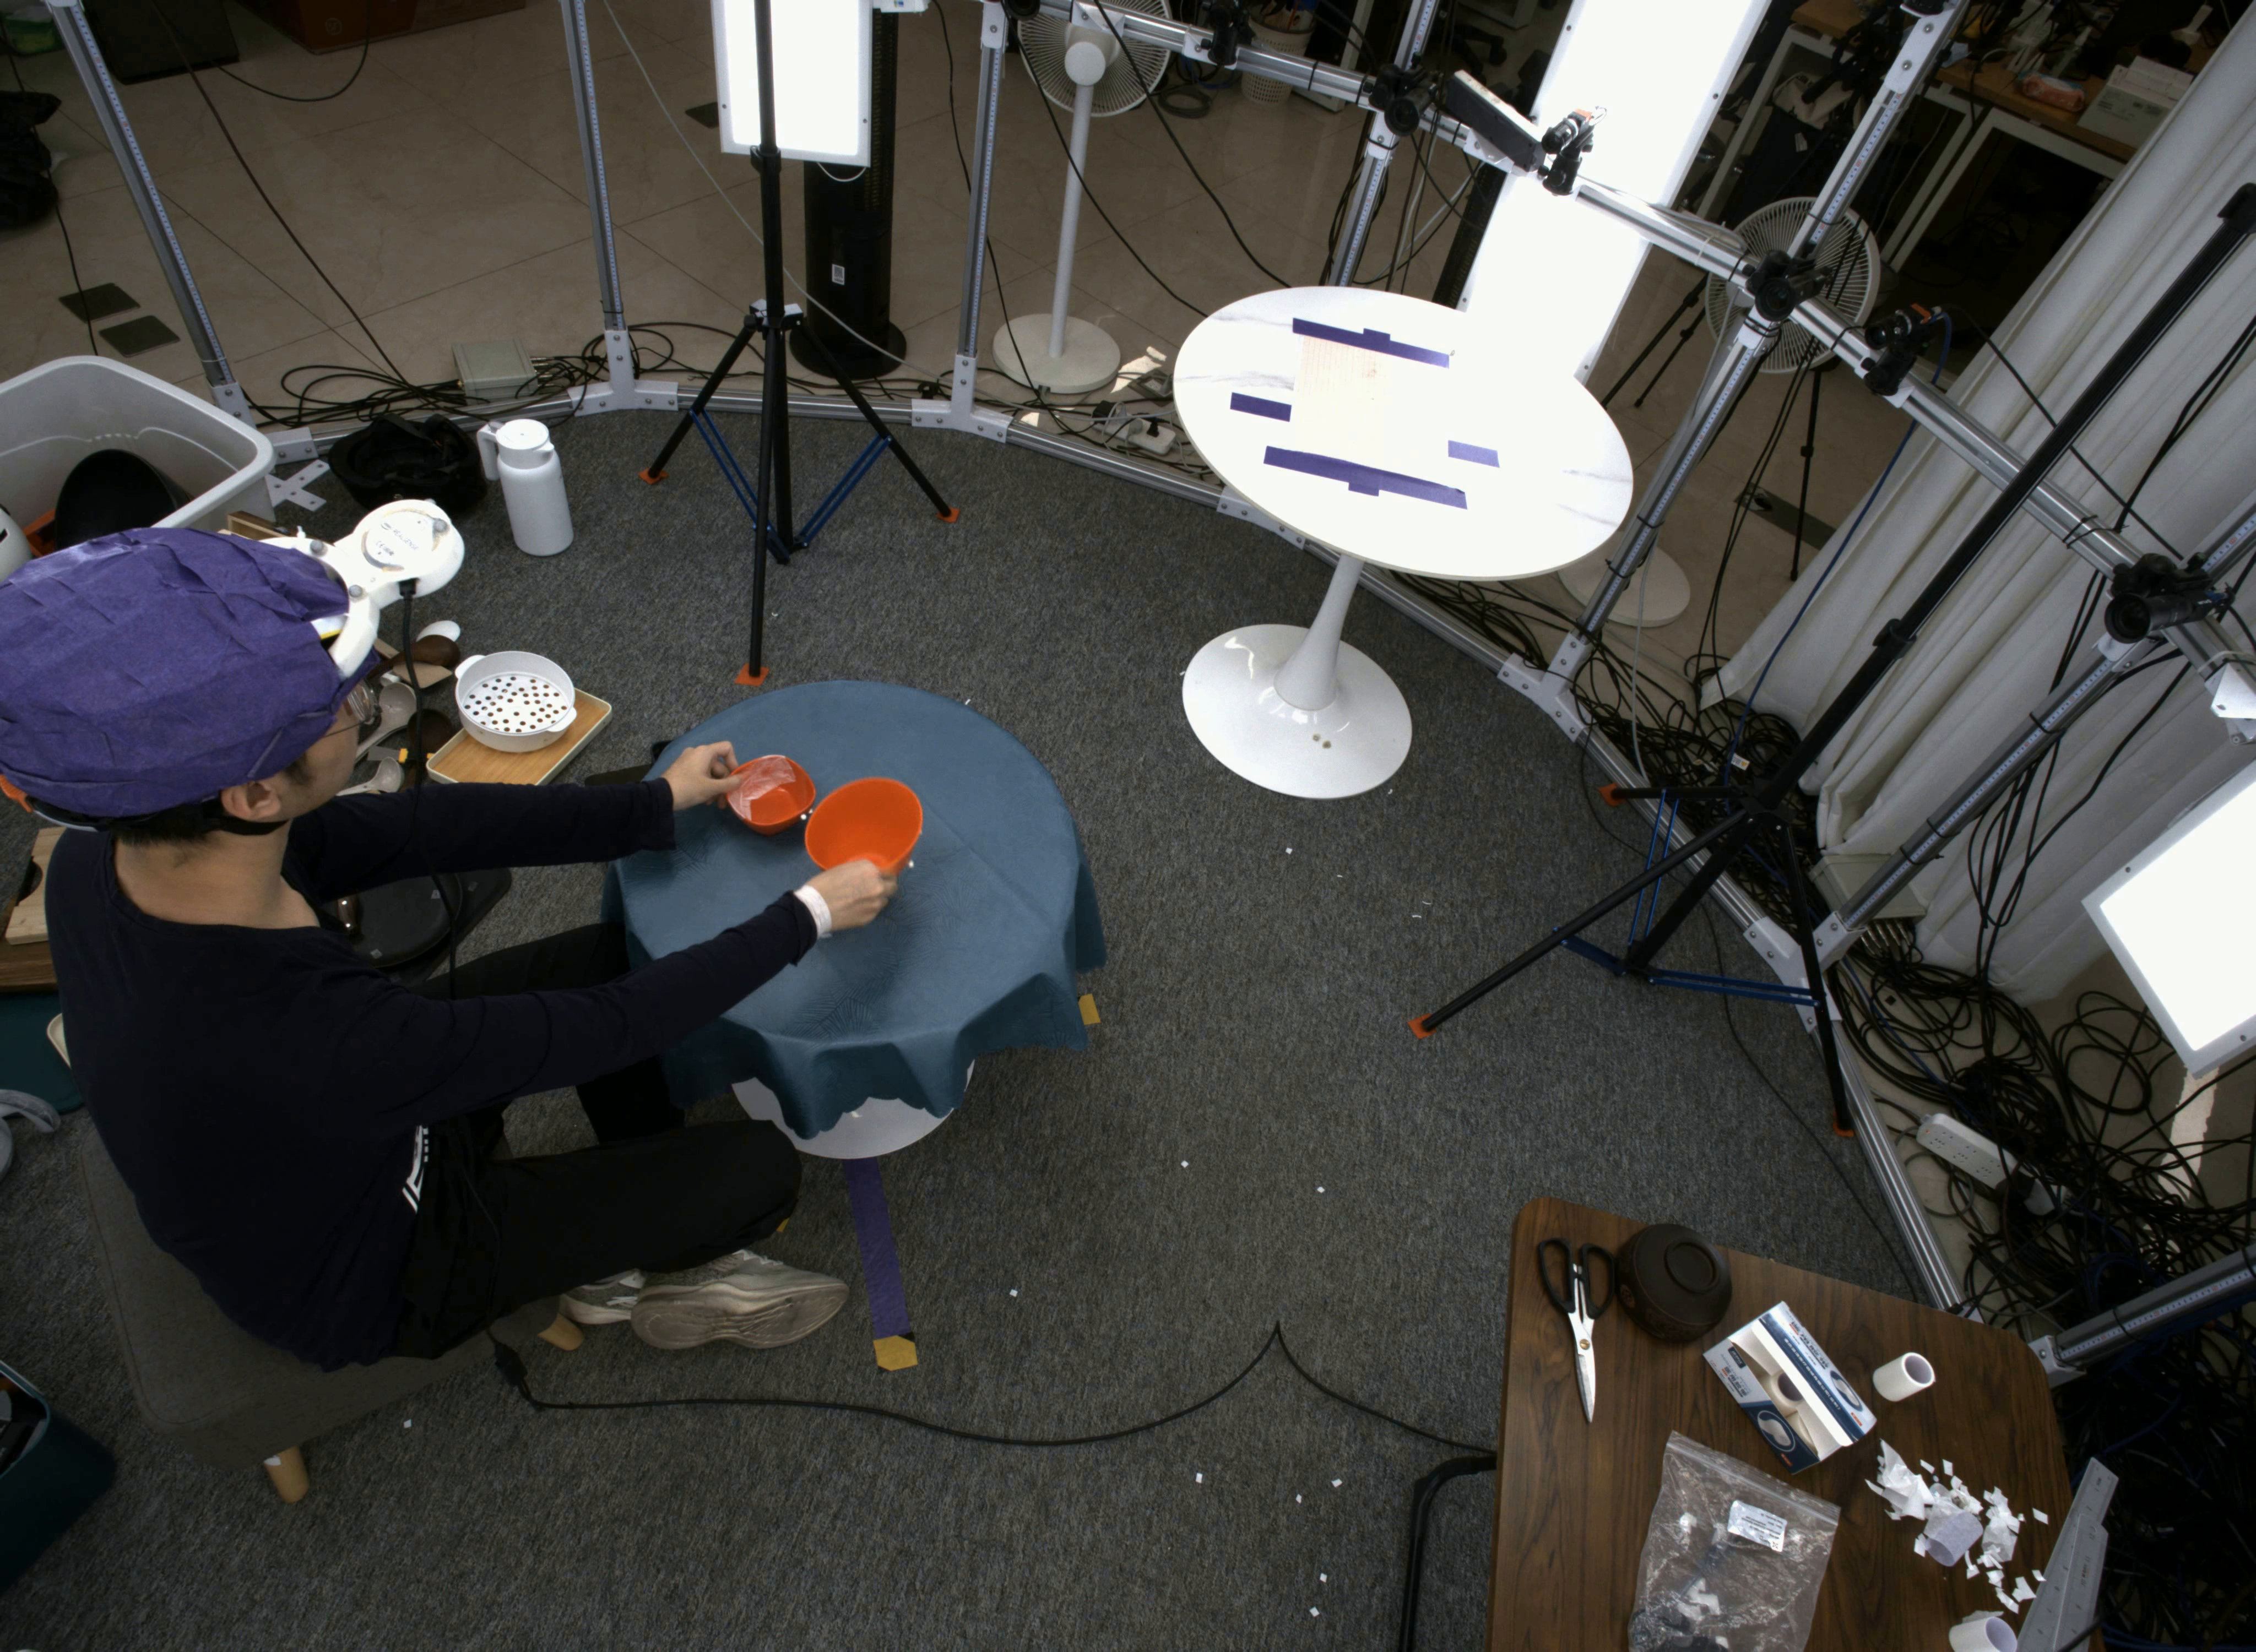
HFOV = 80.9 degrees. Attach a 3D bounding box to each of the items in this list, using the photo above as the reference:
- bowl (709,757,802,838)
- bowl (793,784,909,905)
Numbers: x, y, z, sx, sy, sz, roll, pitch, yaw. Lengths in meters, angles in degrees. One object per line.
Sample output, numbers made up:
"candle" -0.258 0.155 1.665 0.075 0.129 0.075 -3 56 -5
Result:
"bowl" -0.490 -0.031 1.706 0.119 0.052 0.117 9 52 -10
"bowl" -0.343 0.034 1.638 0.146 0.108 0.145 2 50 -1
